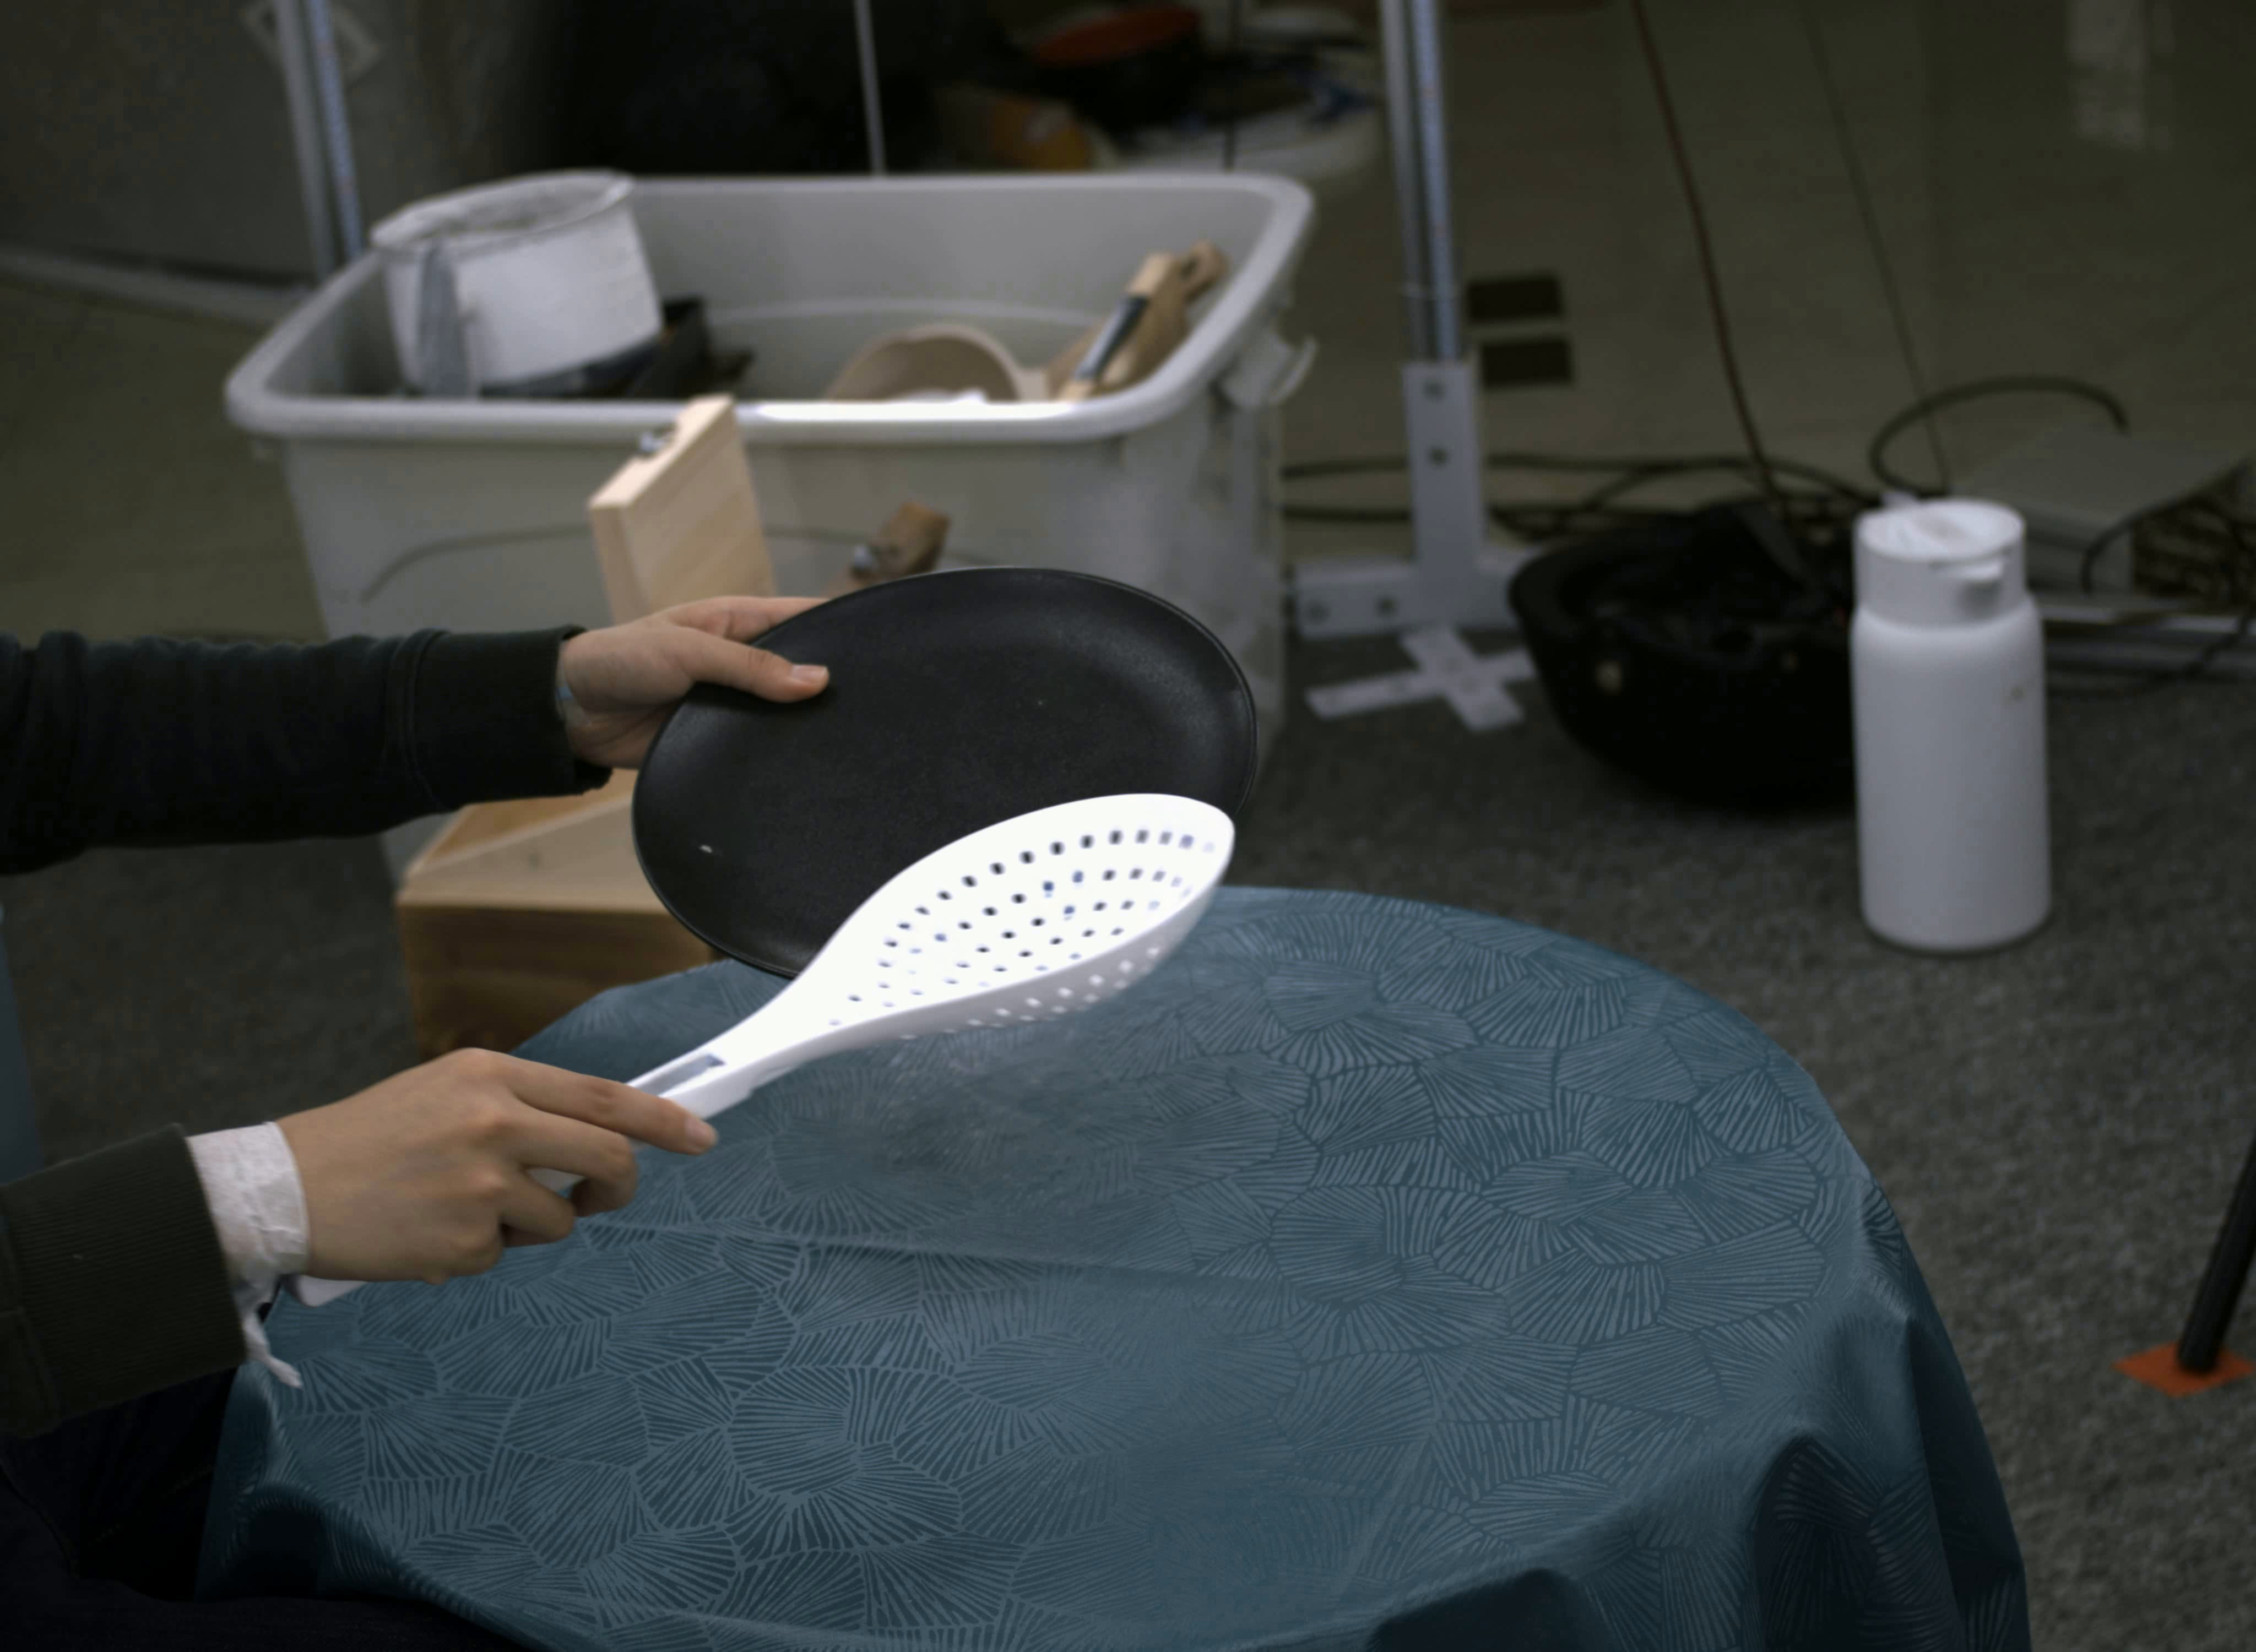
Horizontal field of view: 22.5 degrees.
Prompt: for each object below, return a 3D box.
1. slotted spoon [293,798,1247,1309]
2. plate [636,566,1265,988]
[{"bbox_3d":[-0.115,0.075,1.871,0.348,0.046,0.135,-22,23,-20],"label":"slotted spoon"},{"bbox_3d":[-0.067,-0.014,2.163,0.244,0.024,0.240,-6,42,6],"label":"plate"}]
